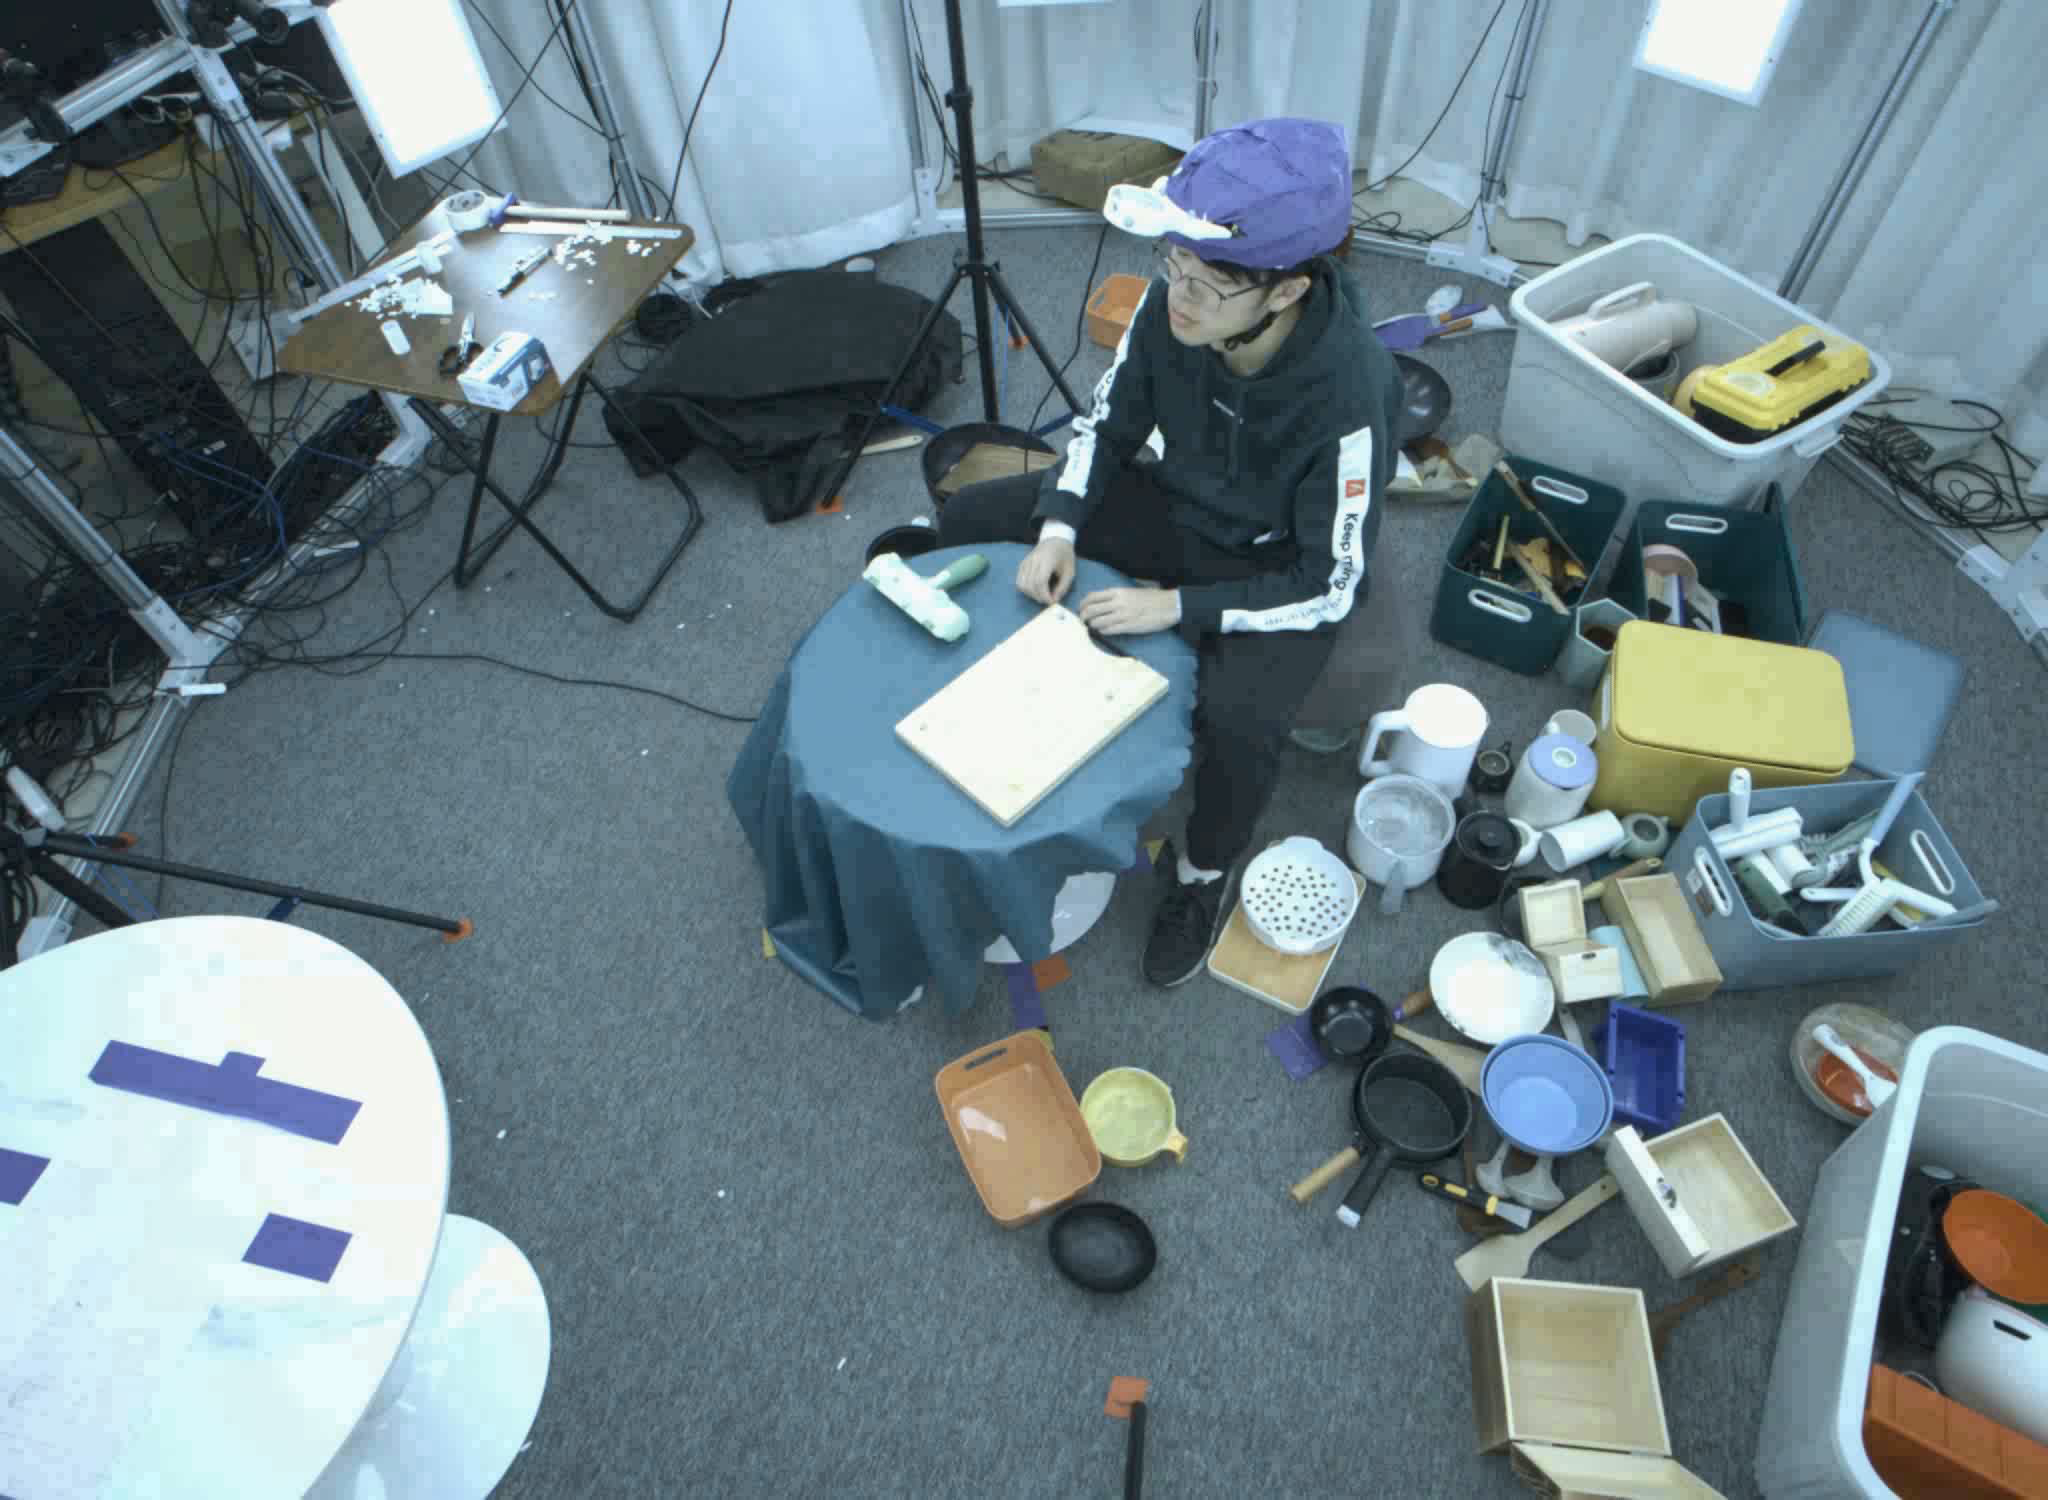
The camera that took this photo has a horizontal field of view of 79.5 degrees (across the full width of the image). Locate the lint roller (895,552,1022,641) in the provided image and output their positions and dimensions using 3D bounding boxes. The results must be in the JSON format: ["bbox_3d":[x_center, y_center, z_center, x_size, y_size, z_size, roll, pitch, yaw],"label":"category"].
[{"bbox_3d":[-0.078,-0.277,1.934,0.184,0.083,0.195,-38,61,-19],"label":"lint roller"}]

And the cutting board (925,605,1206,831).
[{"bbox_3d":[0.060,-0.058,1.812,0.351,0.024,0.246,-39,62,-22],"label":"cutting board"}]
